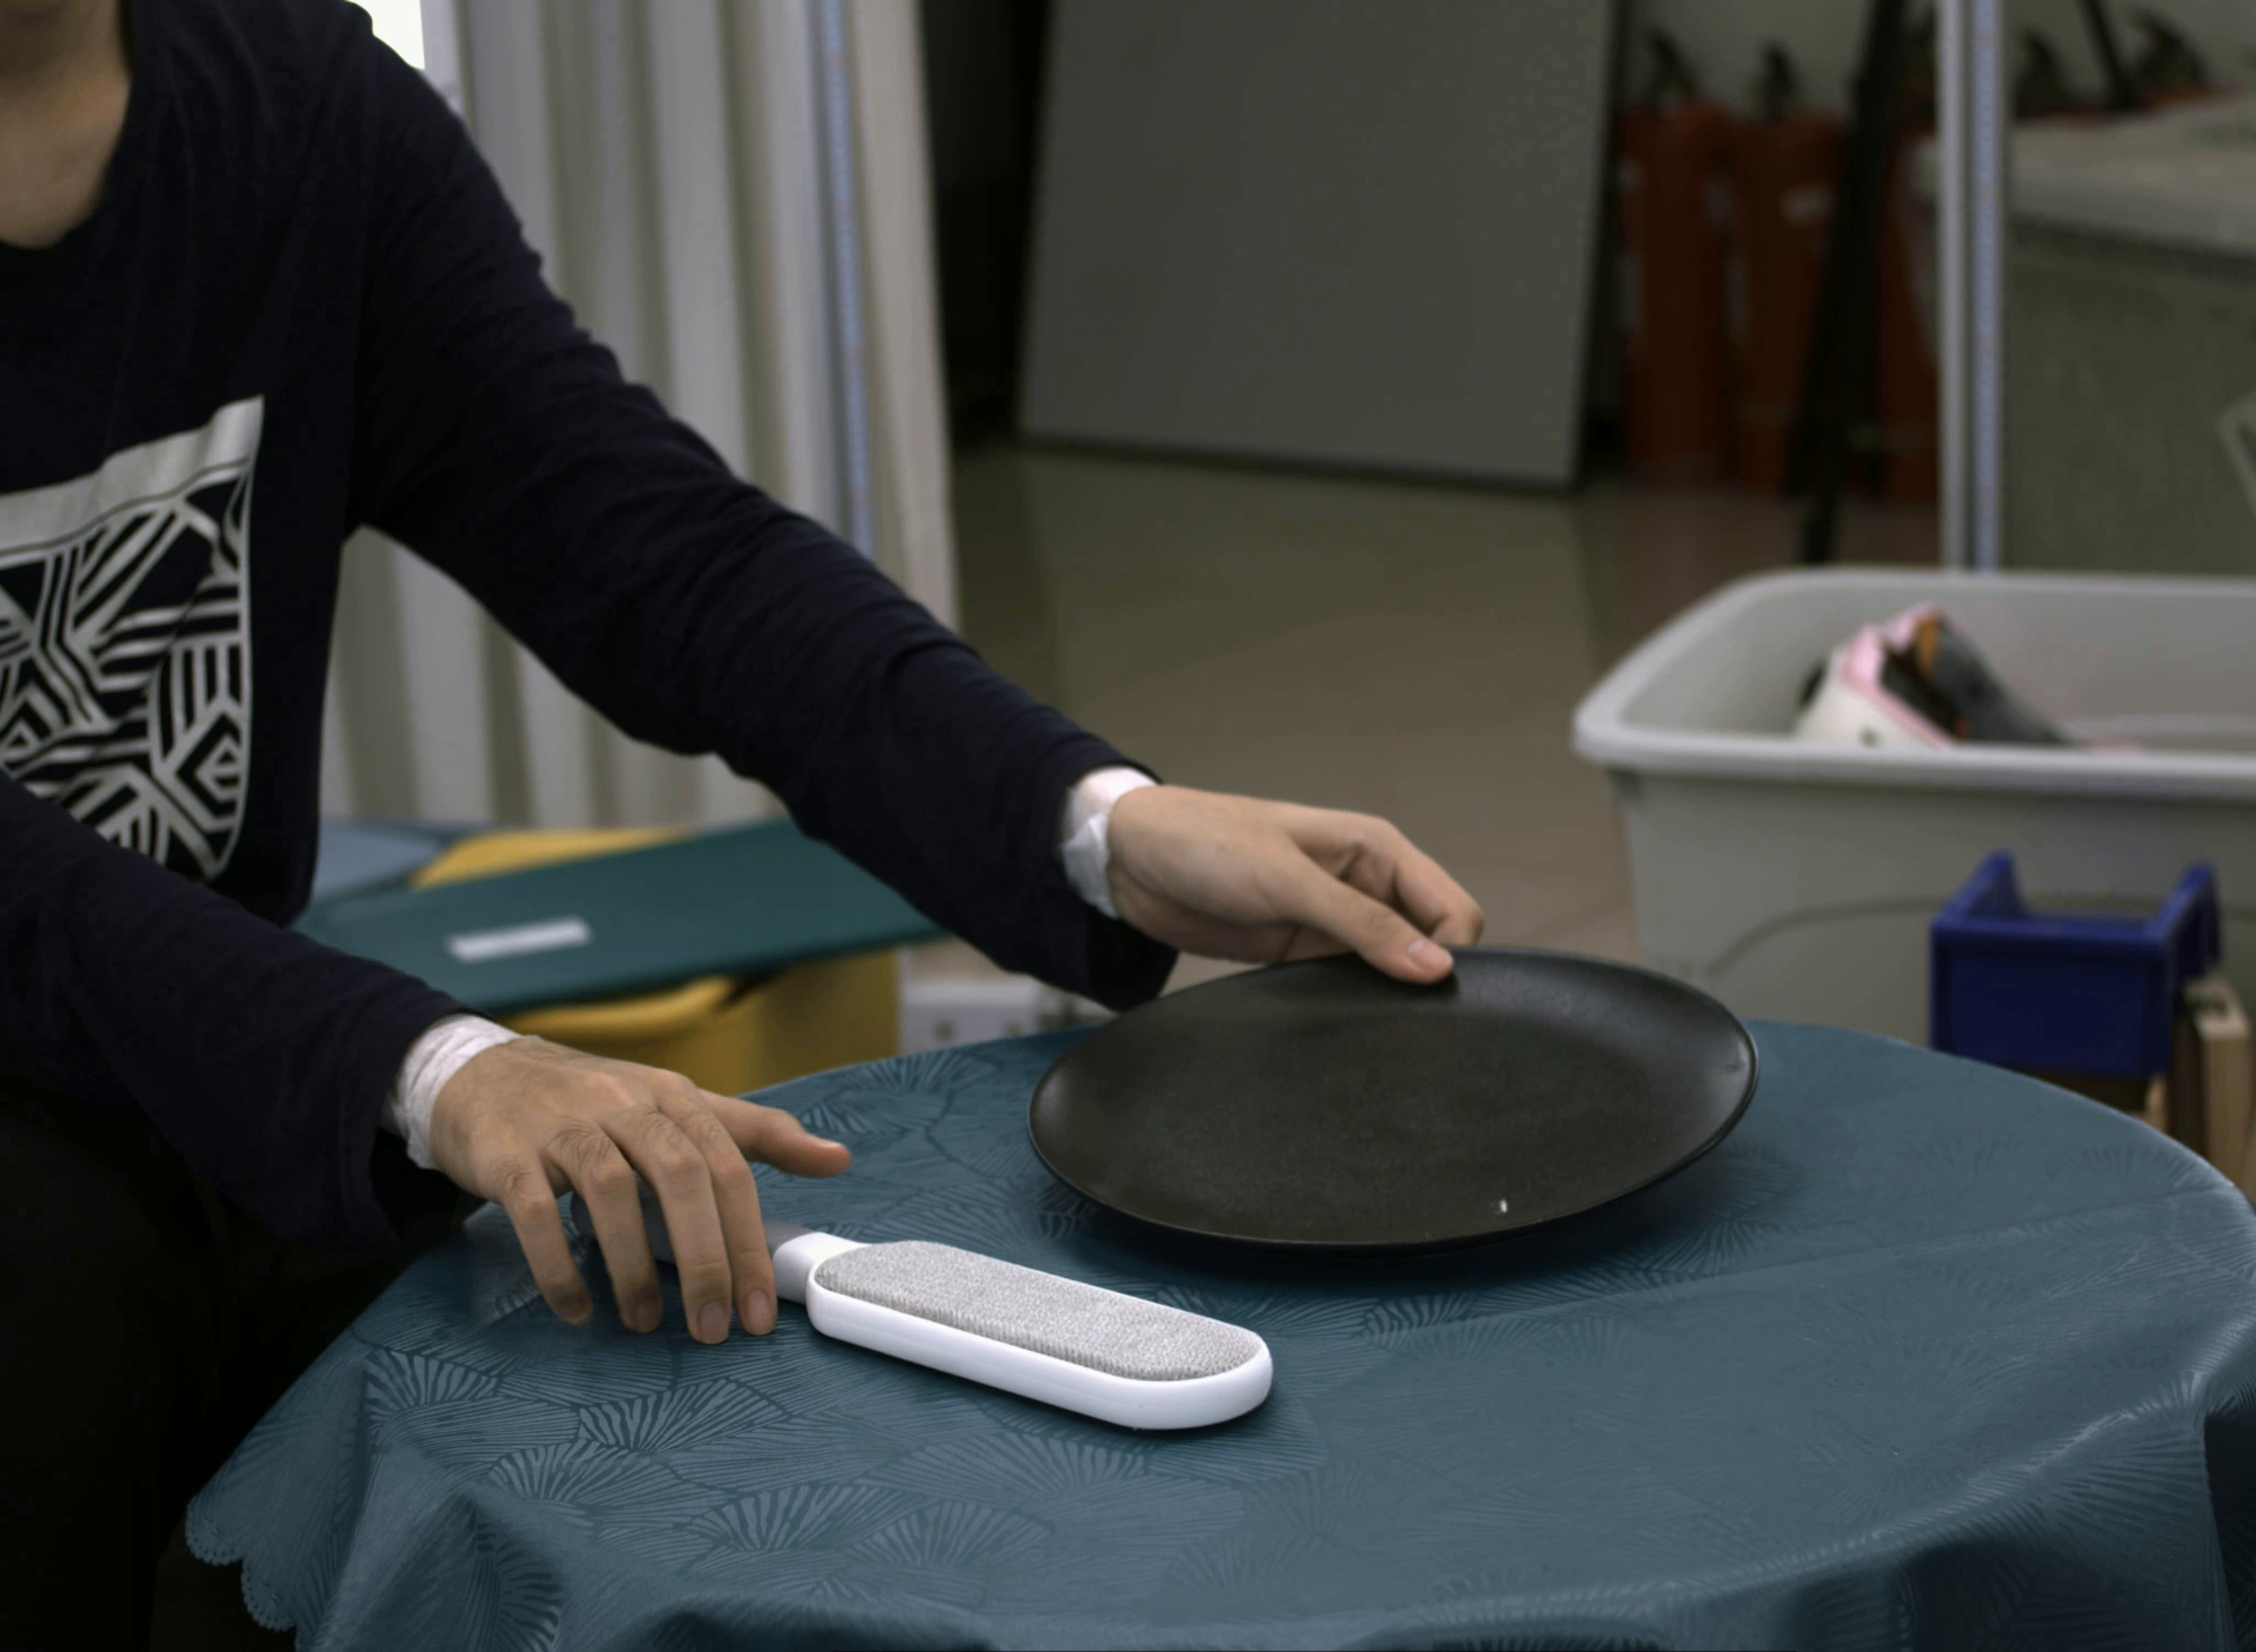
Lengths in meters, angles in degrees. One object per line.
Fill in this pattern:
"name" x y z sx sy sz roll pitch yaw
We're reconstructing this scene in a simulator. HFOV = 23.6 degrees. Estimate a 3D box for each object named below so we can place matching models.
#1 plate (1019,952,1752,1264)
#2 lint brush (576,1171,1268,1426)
"plate" 0.085 0.096 1.765 0.241 0.023 0.245 -6 20 1
"lint brush" -0.070 0.141 1.658 0.059 0.021 0.312 -22 22 -38
